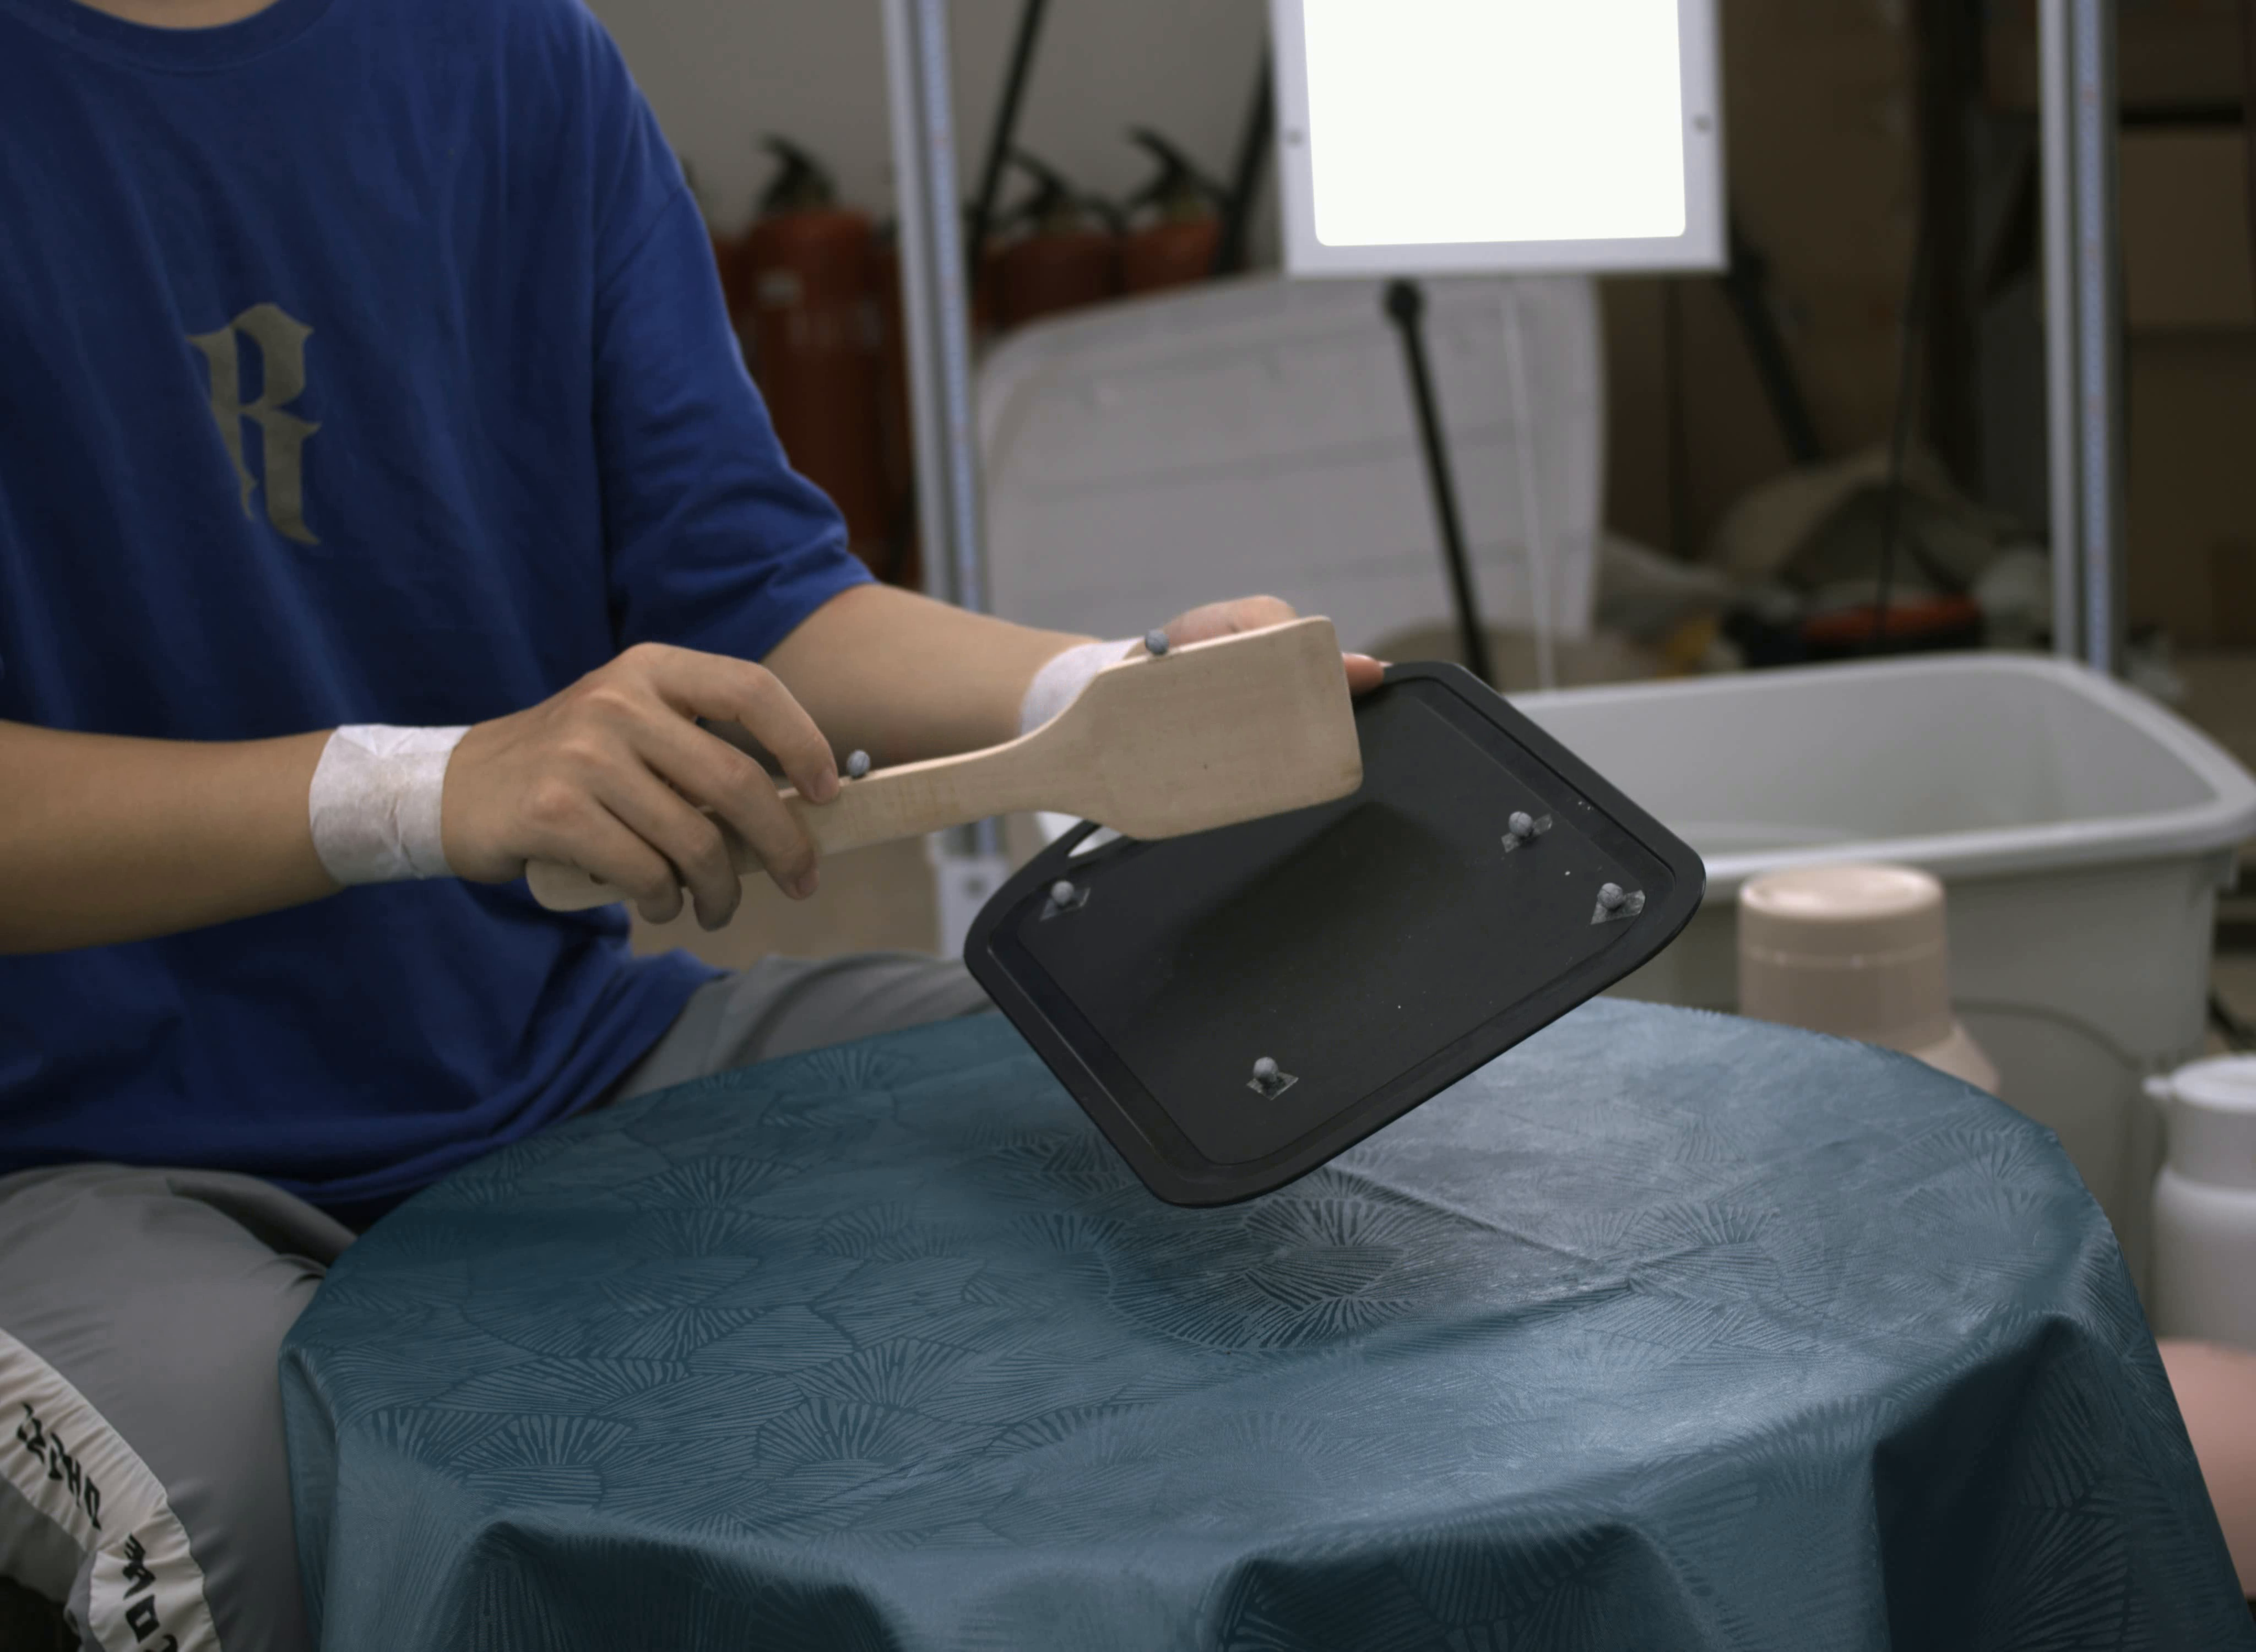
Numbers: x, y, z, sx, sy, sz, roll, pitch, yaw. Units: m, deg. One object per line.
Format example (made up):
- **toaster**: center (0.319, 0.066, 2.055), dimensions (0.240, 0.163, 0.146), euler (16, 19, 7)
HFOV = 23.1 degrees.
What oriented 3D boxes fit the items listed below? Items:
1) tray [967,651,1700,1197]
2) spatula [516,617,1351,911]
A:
- **tray**: center (0.059, 0.024, 1.879), dimensions (0.210, 0.010, 0.328), euler (-32, 24, -4)
- **spatula**: center (-0.069, -0.013, 1.906), dimensions (0.293, 0.072, 0.010), euler (-12, 27, 2)
